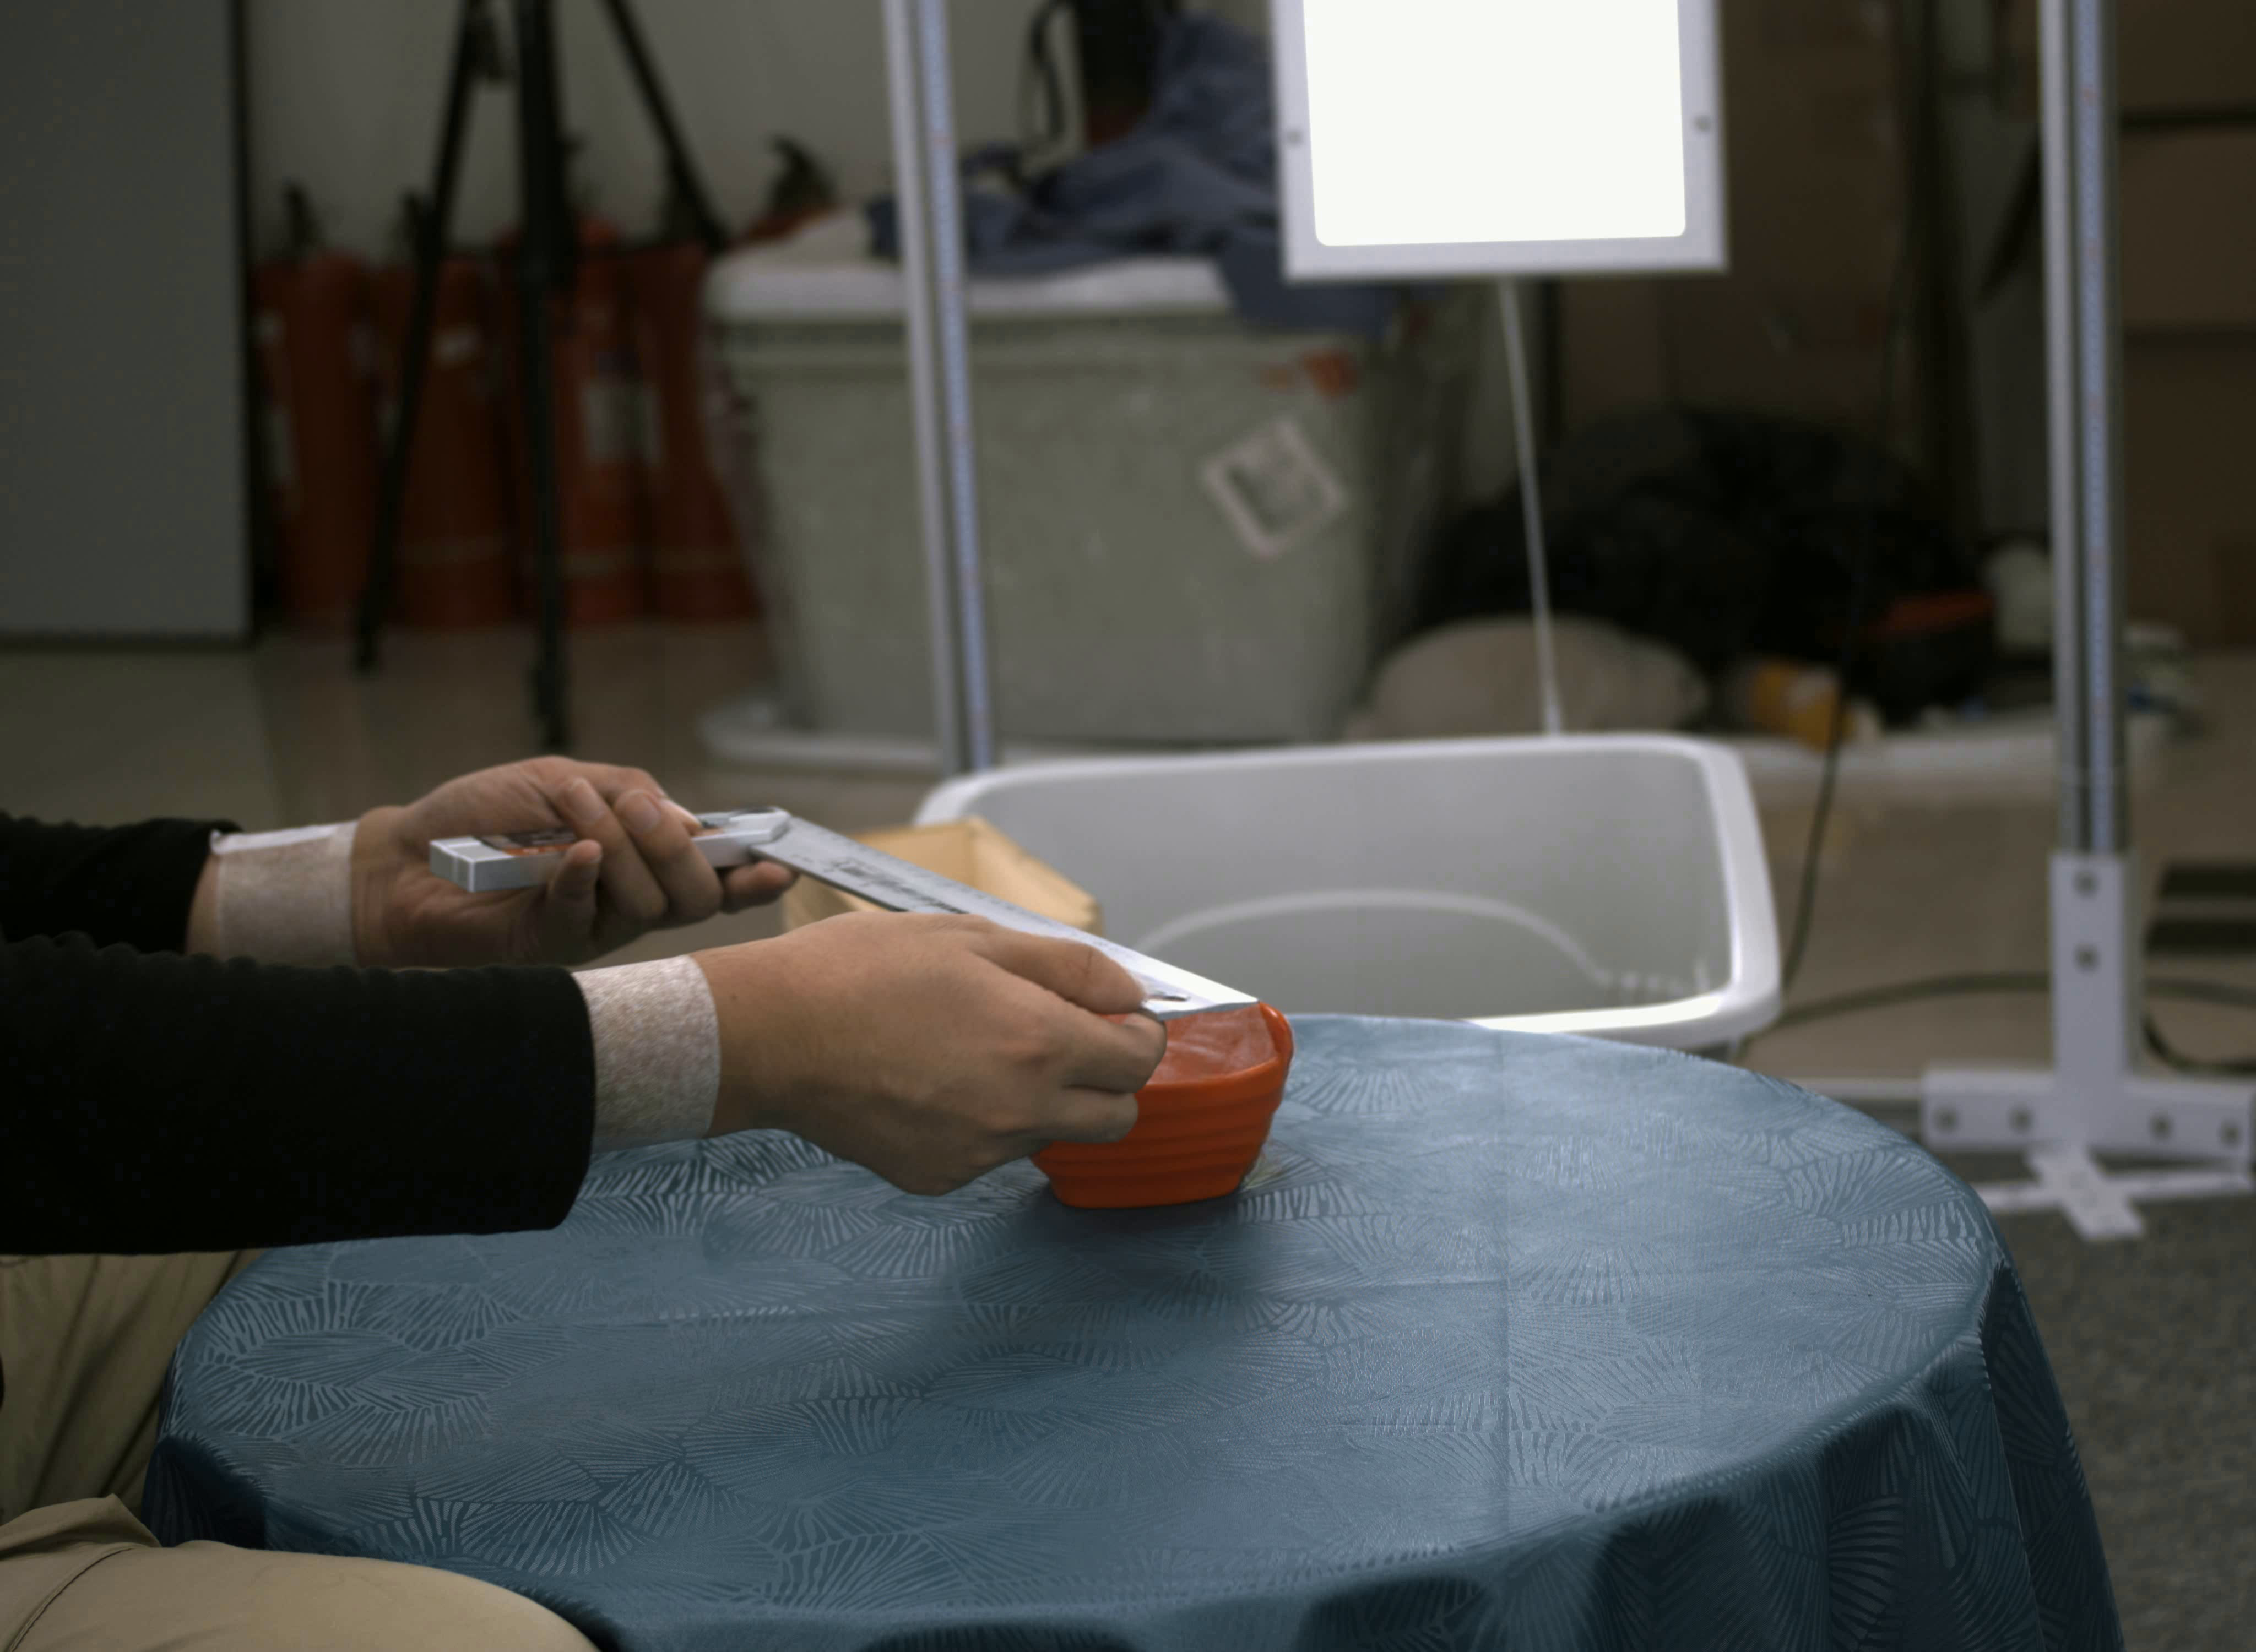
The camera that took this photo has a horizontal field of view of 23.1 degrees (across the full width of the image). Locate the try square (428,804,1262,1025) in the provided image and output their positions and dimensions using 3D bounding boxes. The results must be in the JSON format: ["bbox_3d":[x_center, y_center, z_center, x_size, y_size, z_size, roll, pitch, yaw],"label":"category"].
[{"bbox_3d":[-0.103,0.037,1.876,0.149,0.016,0.319,-10,17,-30],"label":"try square"}]

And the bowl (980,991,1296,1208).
[{"bbox_3d":[0.005,0.097,1.906,0.118,0.051,0.119,-4,15,0],"label":"bowl"}]
